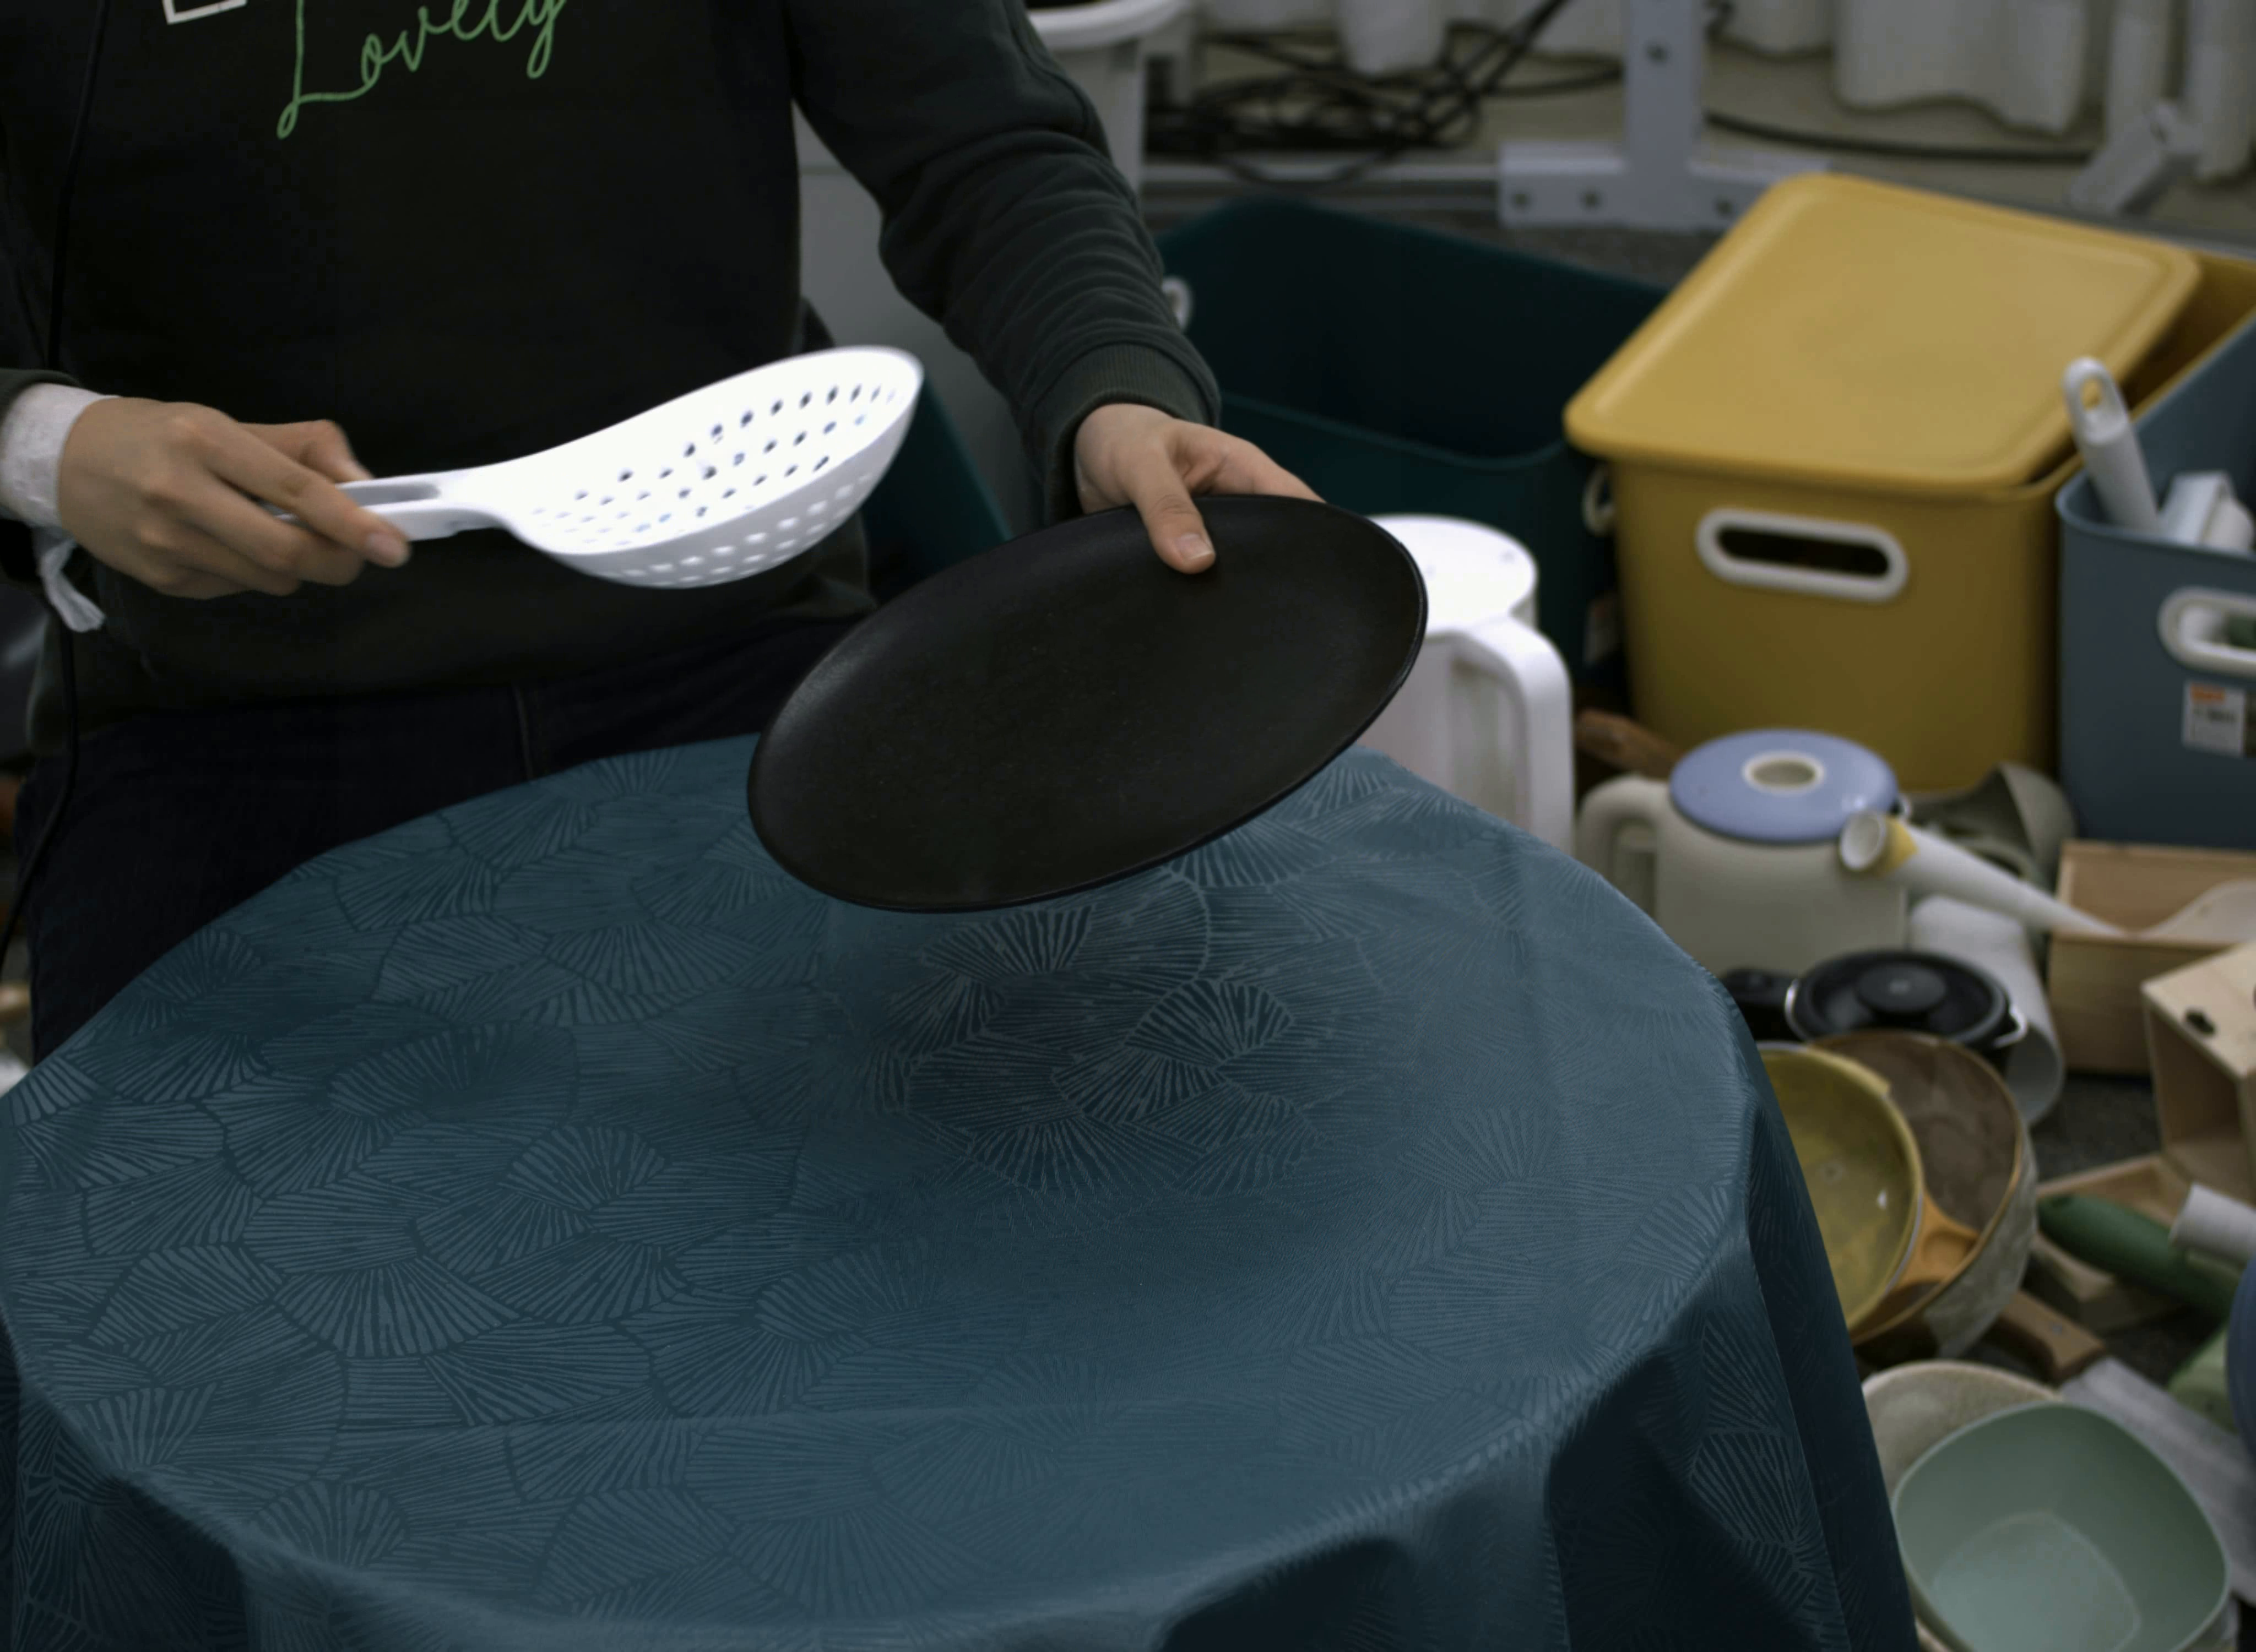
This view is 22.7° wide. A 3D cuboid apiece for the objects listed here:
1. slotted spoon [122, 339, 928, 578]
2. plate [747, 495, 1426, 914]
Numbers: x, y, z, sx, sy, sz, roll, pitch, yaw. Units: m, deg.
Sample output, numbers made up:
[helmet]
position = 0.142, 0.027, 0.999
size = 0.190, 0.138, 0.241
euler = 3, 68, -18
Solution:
[slotted spoon]
position = -0.211, -0.112, 1.887
size = 0.346, 0.045, 0.138
euler = 1, 31, 34
[plate]
position = -0.012, -0.038, 1.914
size = 0.242, 0.023, 0.248
euler = -15, 30, 9
